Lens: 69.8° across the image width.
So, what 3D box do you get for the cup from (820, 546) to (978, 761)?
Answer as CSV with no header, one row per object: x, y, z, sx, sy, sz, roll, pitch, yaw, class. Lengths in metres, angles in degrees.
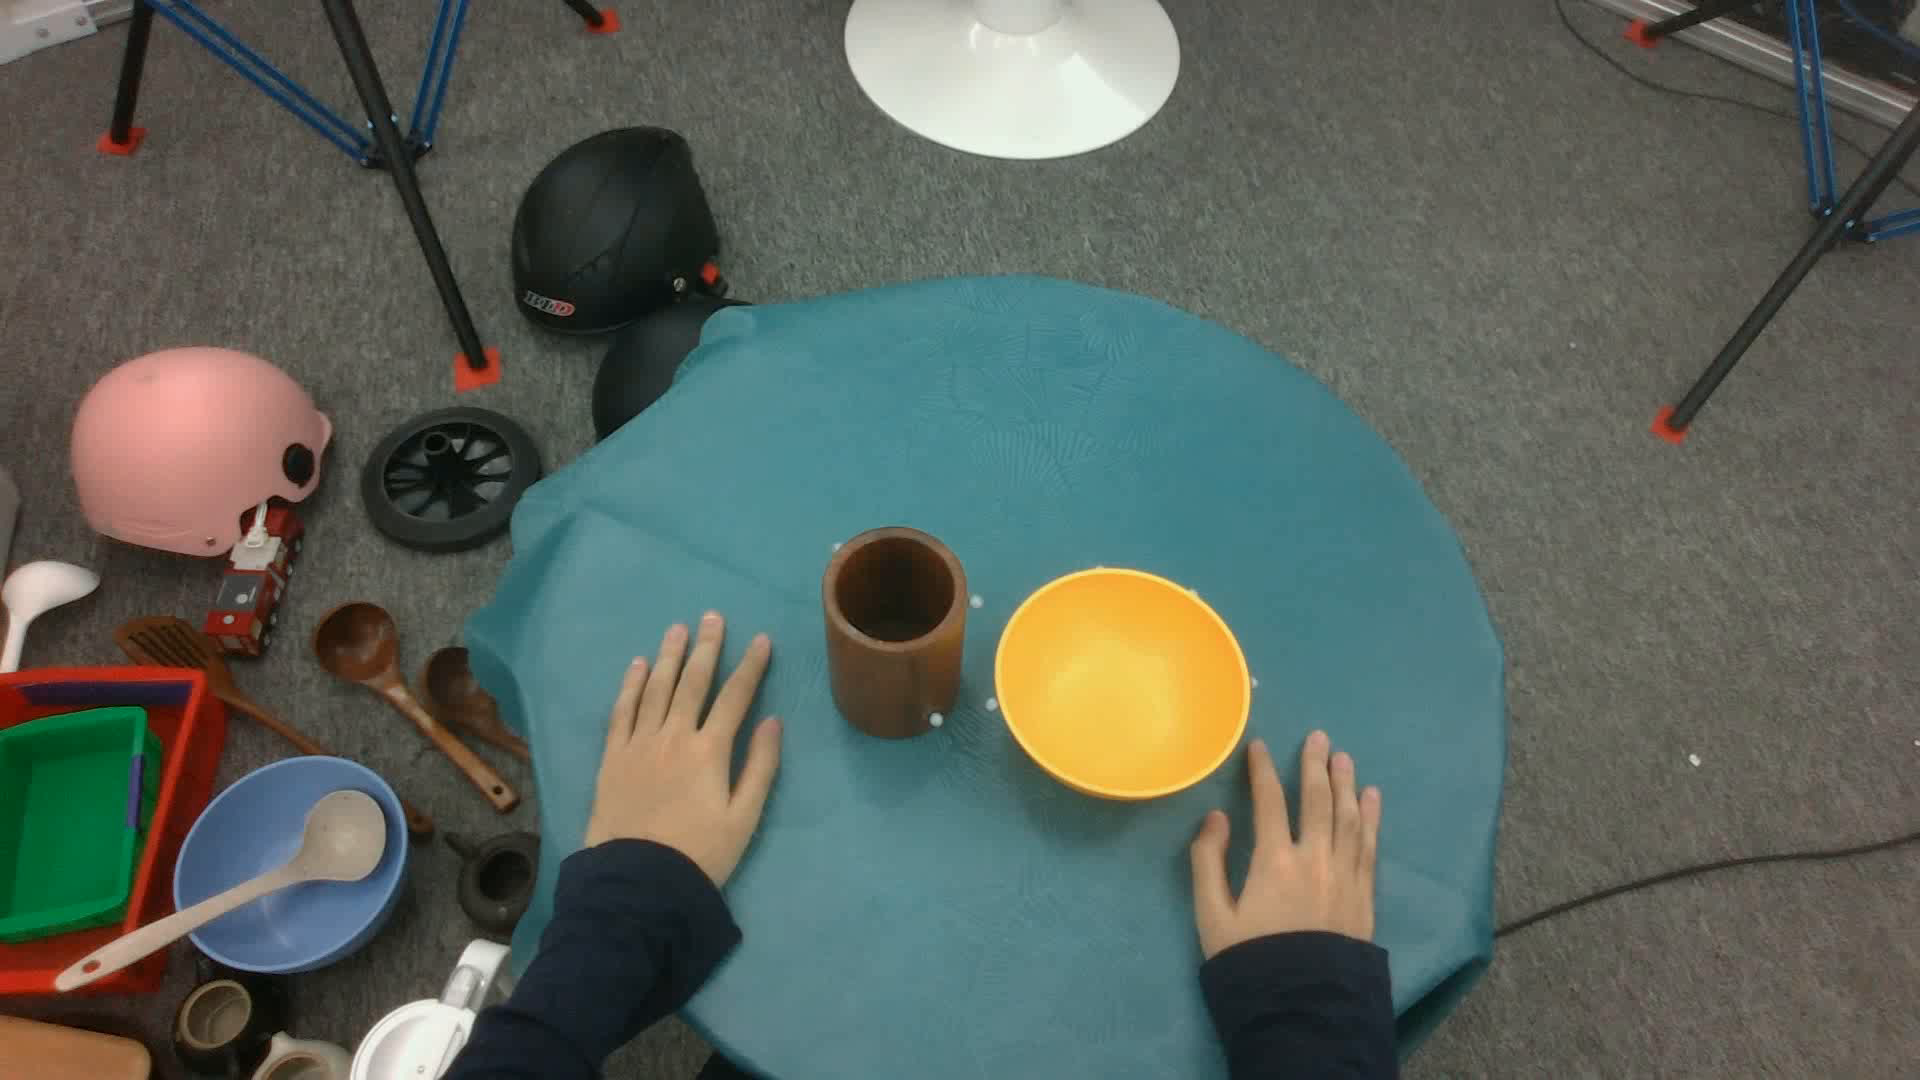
-0.033,0.068,0.796,0.088,0.118,0.088,1,56,-1,cup

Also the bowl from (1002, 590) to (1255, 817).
0.096,0.104,0.811,0.145,0.060,0.146,1,56,-1,bowl
